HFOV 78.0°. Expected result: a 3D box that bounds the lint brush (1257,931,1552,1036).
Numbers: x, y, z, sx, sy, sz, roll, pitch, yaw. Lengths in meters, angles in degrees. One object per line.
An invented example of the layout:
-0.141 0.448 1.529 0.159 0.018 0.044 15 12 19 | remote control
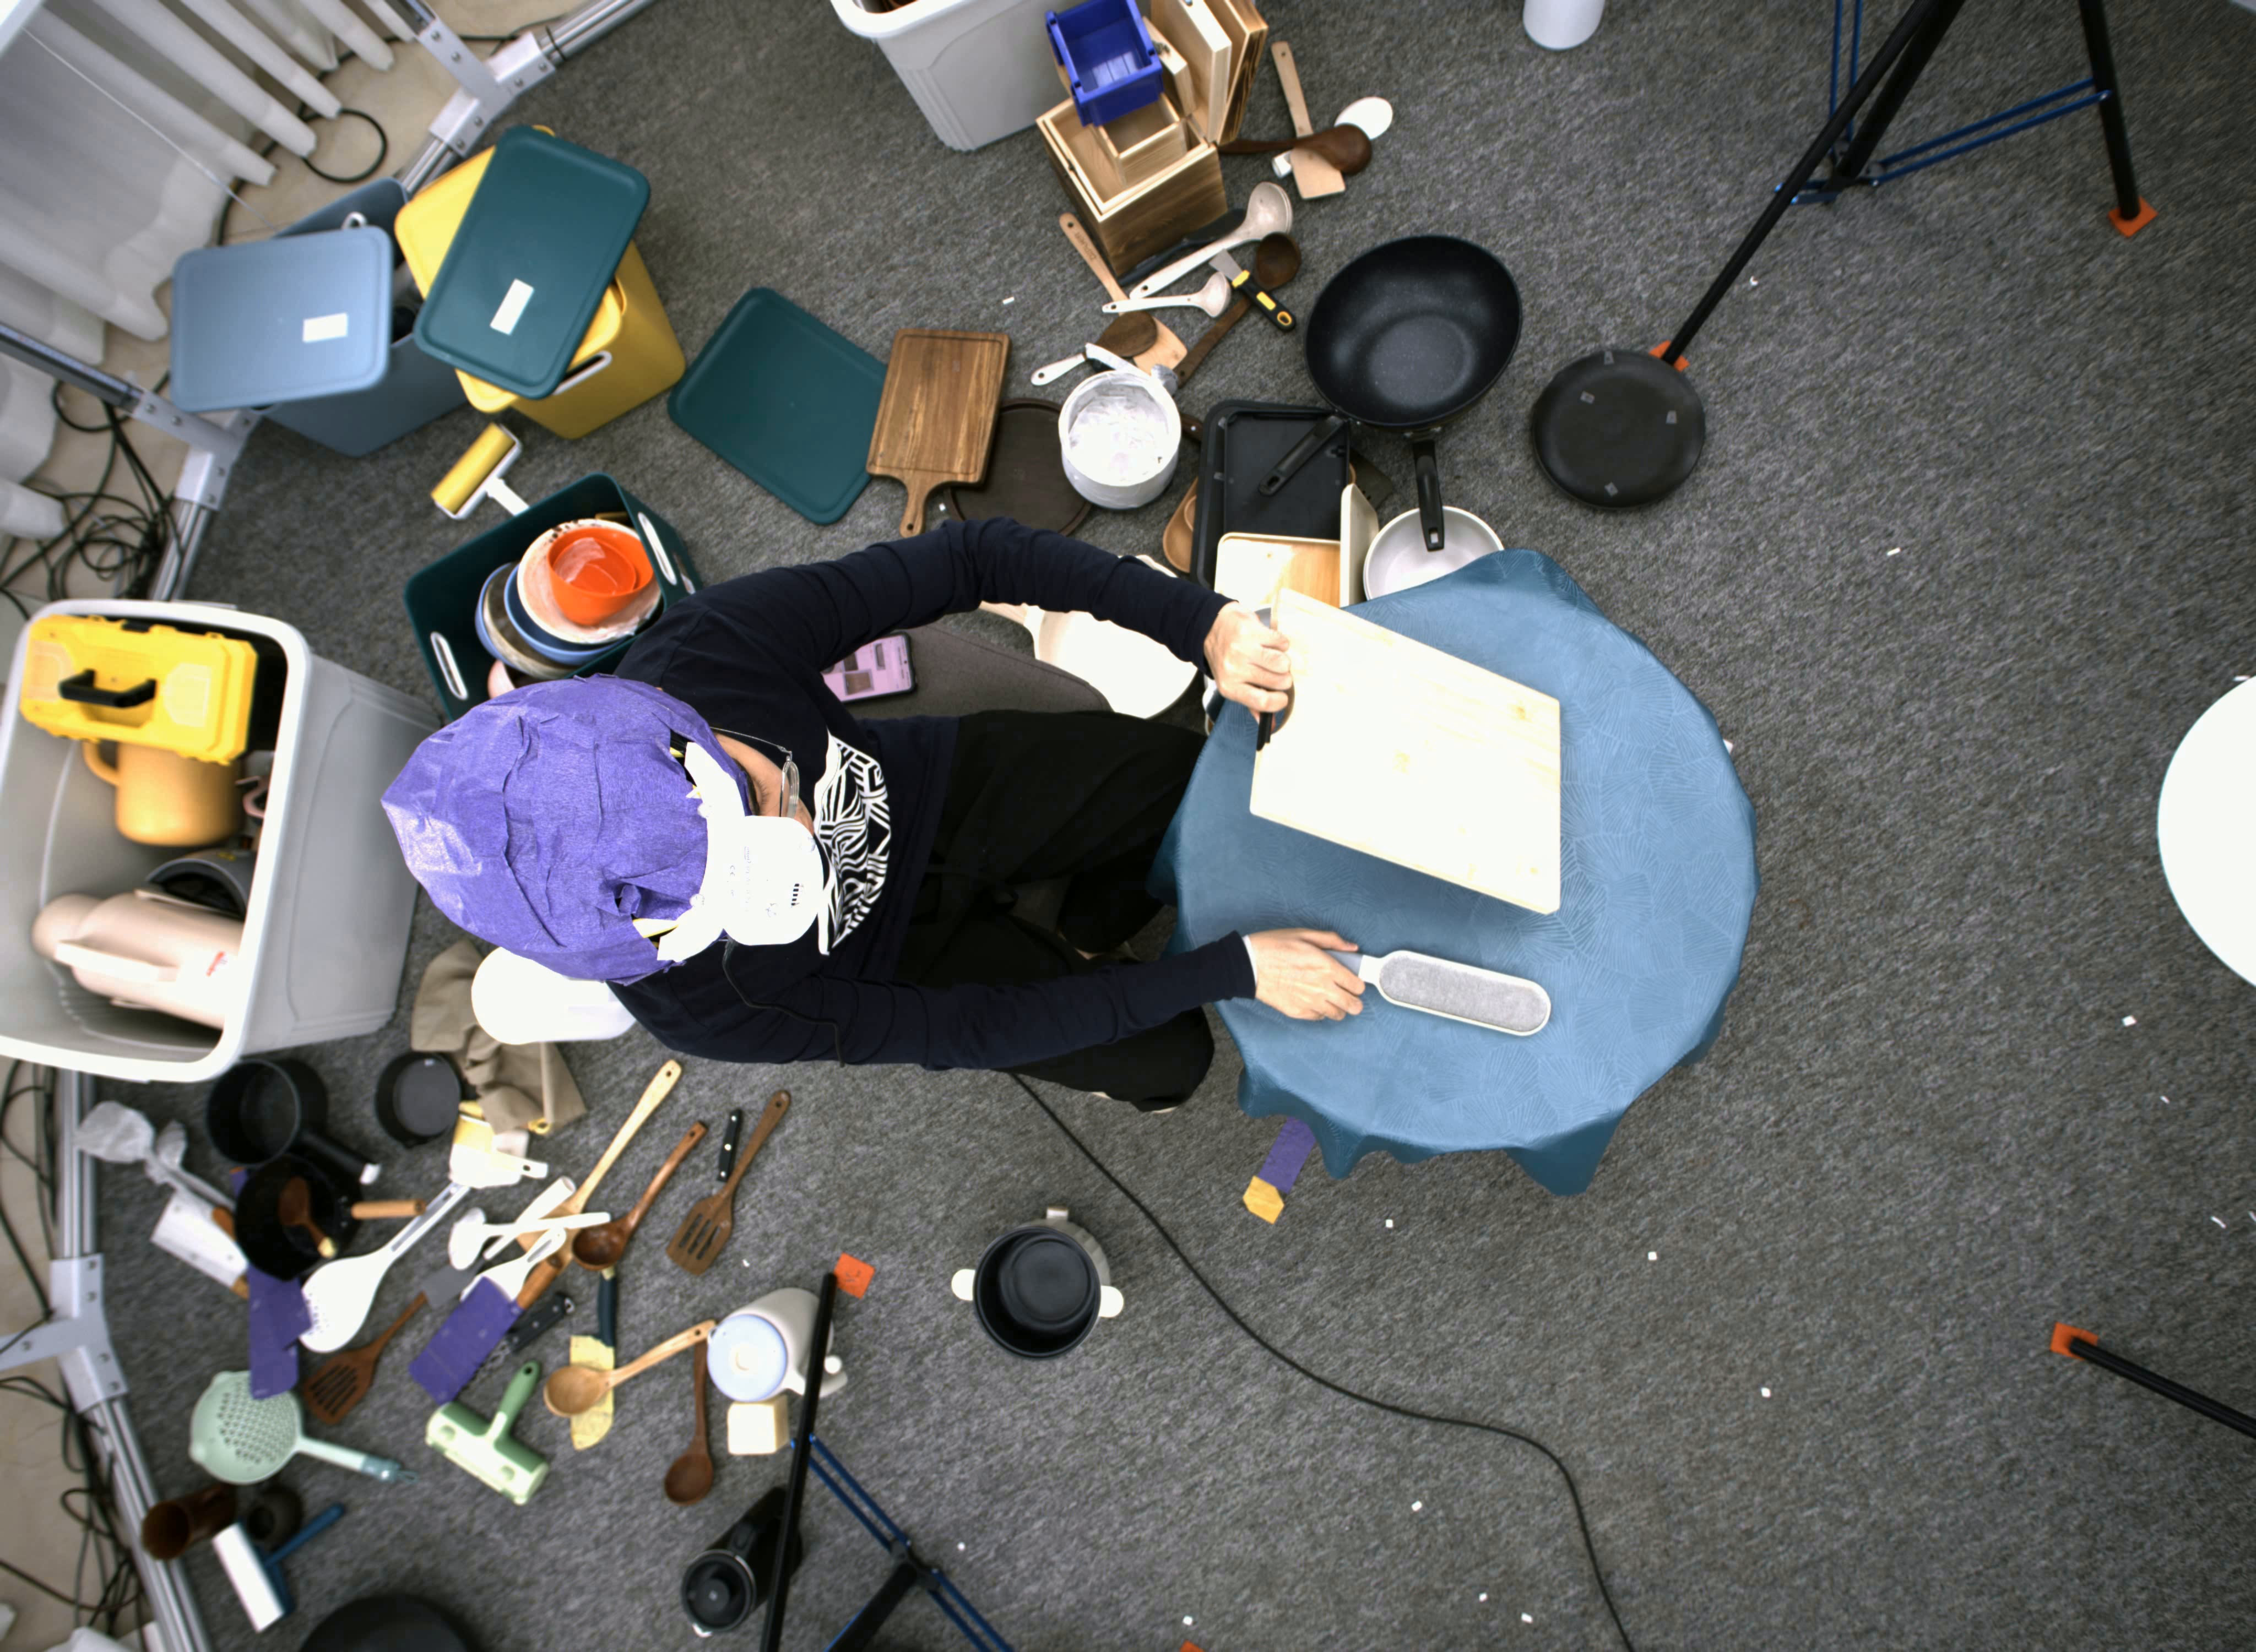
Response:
0.284 0.154 1.436 0.309 0.021 0.060 14 99 10 | lint brush

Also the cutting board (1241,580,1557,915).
0.273 -0.075 1.331 0.349 0.024 0.245 17 66 -20 | cutting board
